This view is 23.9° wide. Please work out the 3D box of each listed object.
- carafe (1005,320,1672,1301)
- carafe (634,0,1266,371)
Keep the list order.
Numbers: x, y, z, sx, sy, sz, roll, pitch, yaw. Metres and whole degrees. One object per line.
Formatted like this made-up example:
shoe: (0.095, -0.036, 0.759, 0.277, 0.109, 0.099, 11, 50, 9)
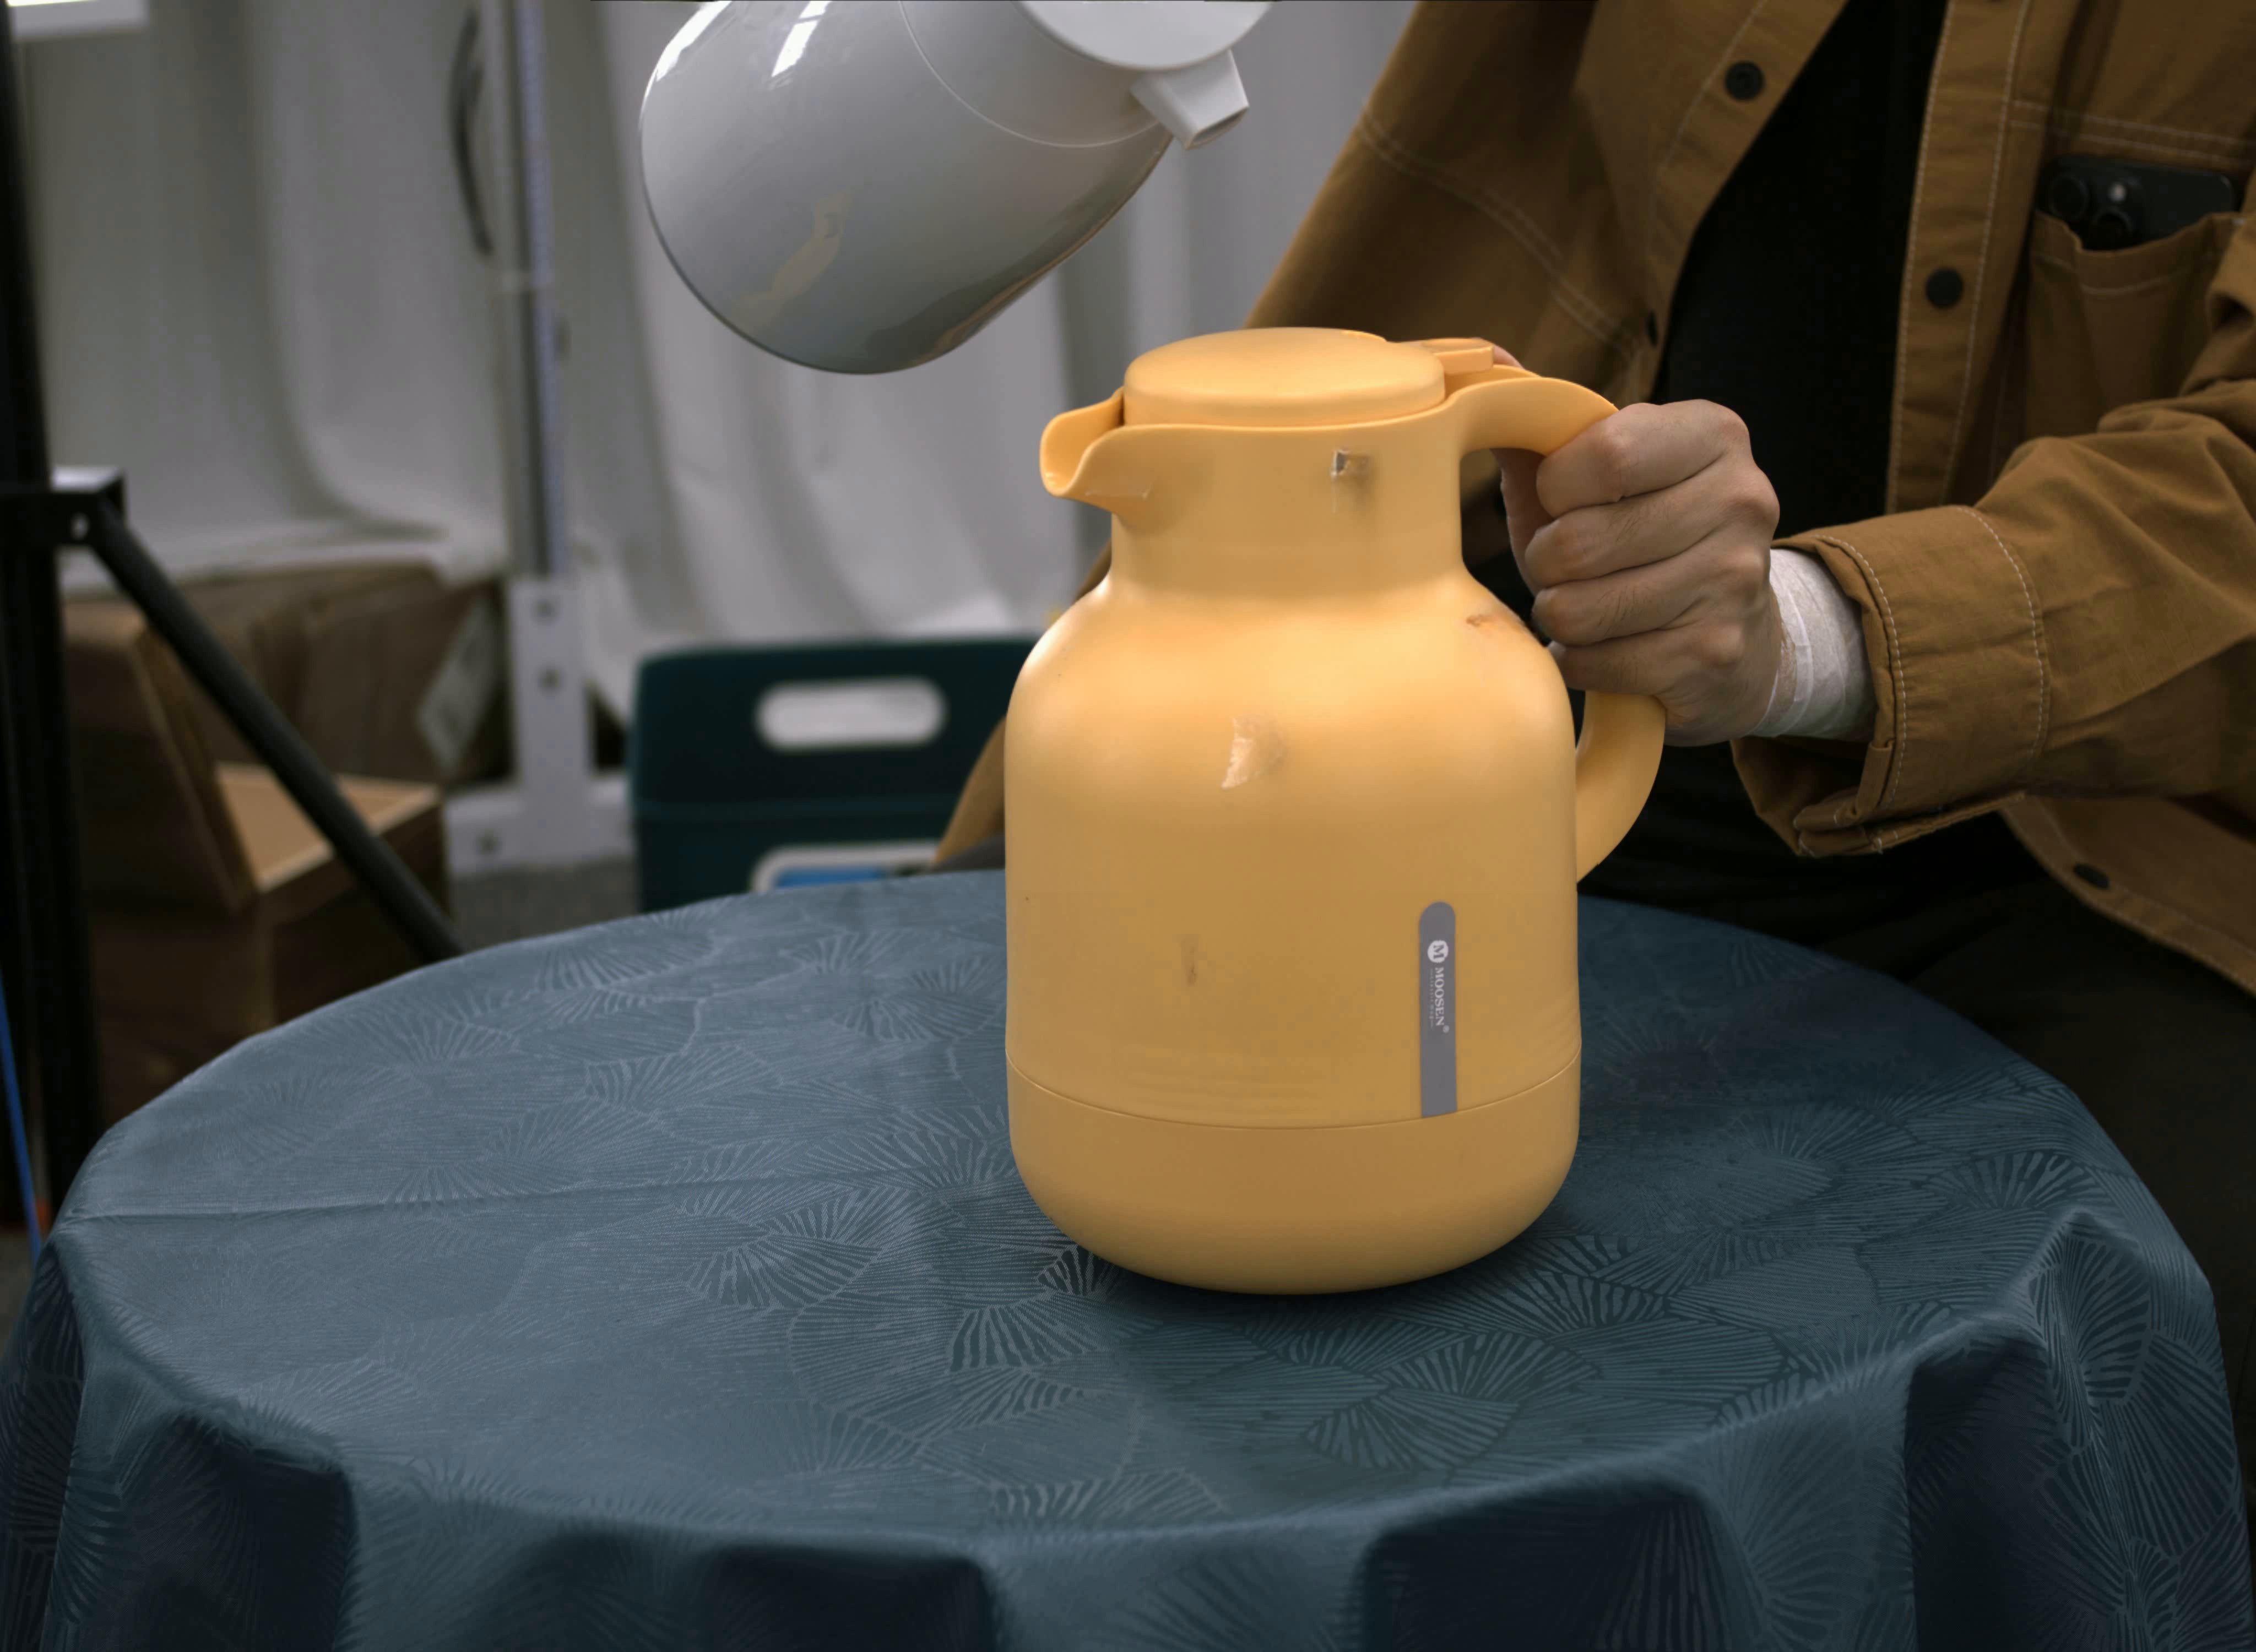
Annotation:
carafe: (0.064, -0.010, 1.488, 0.198, 0.260, 0.167, -10, 18, -25)
carafe: (-0.053, -0.245, 1.550, 0.130, 0.168, 0.251, -30, 0, -25)
